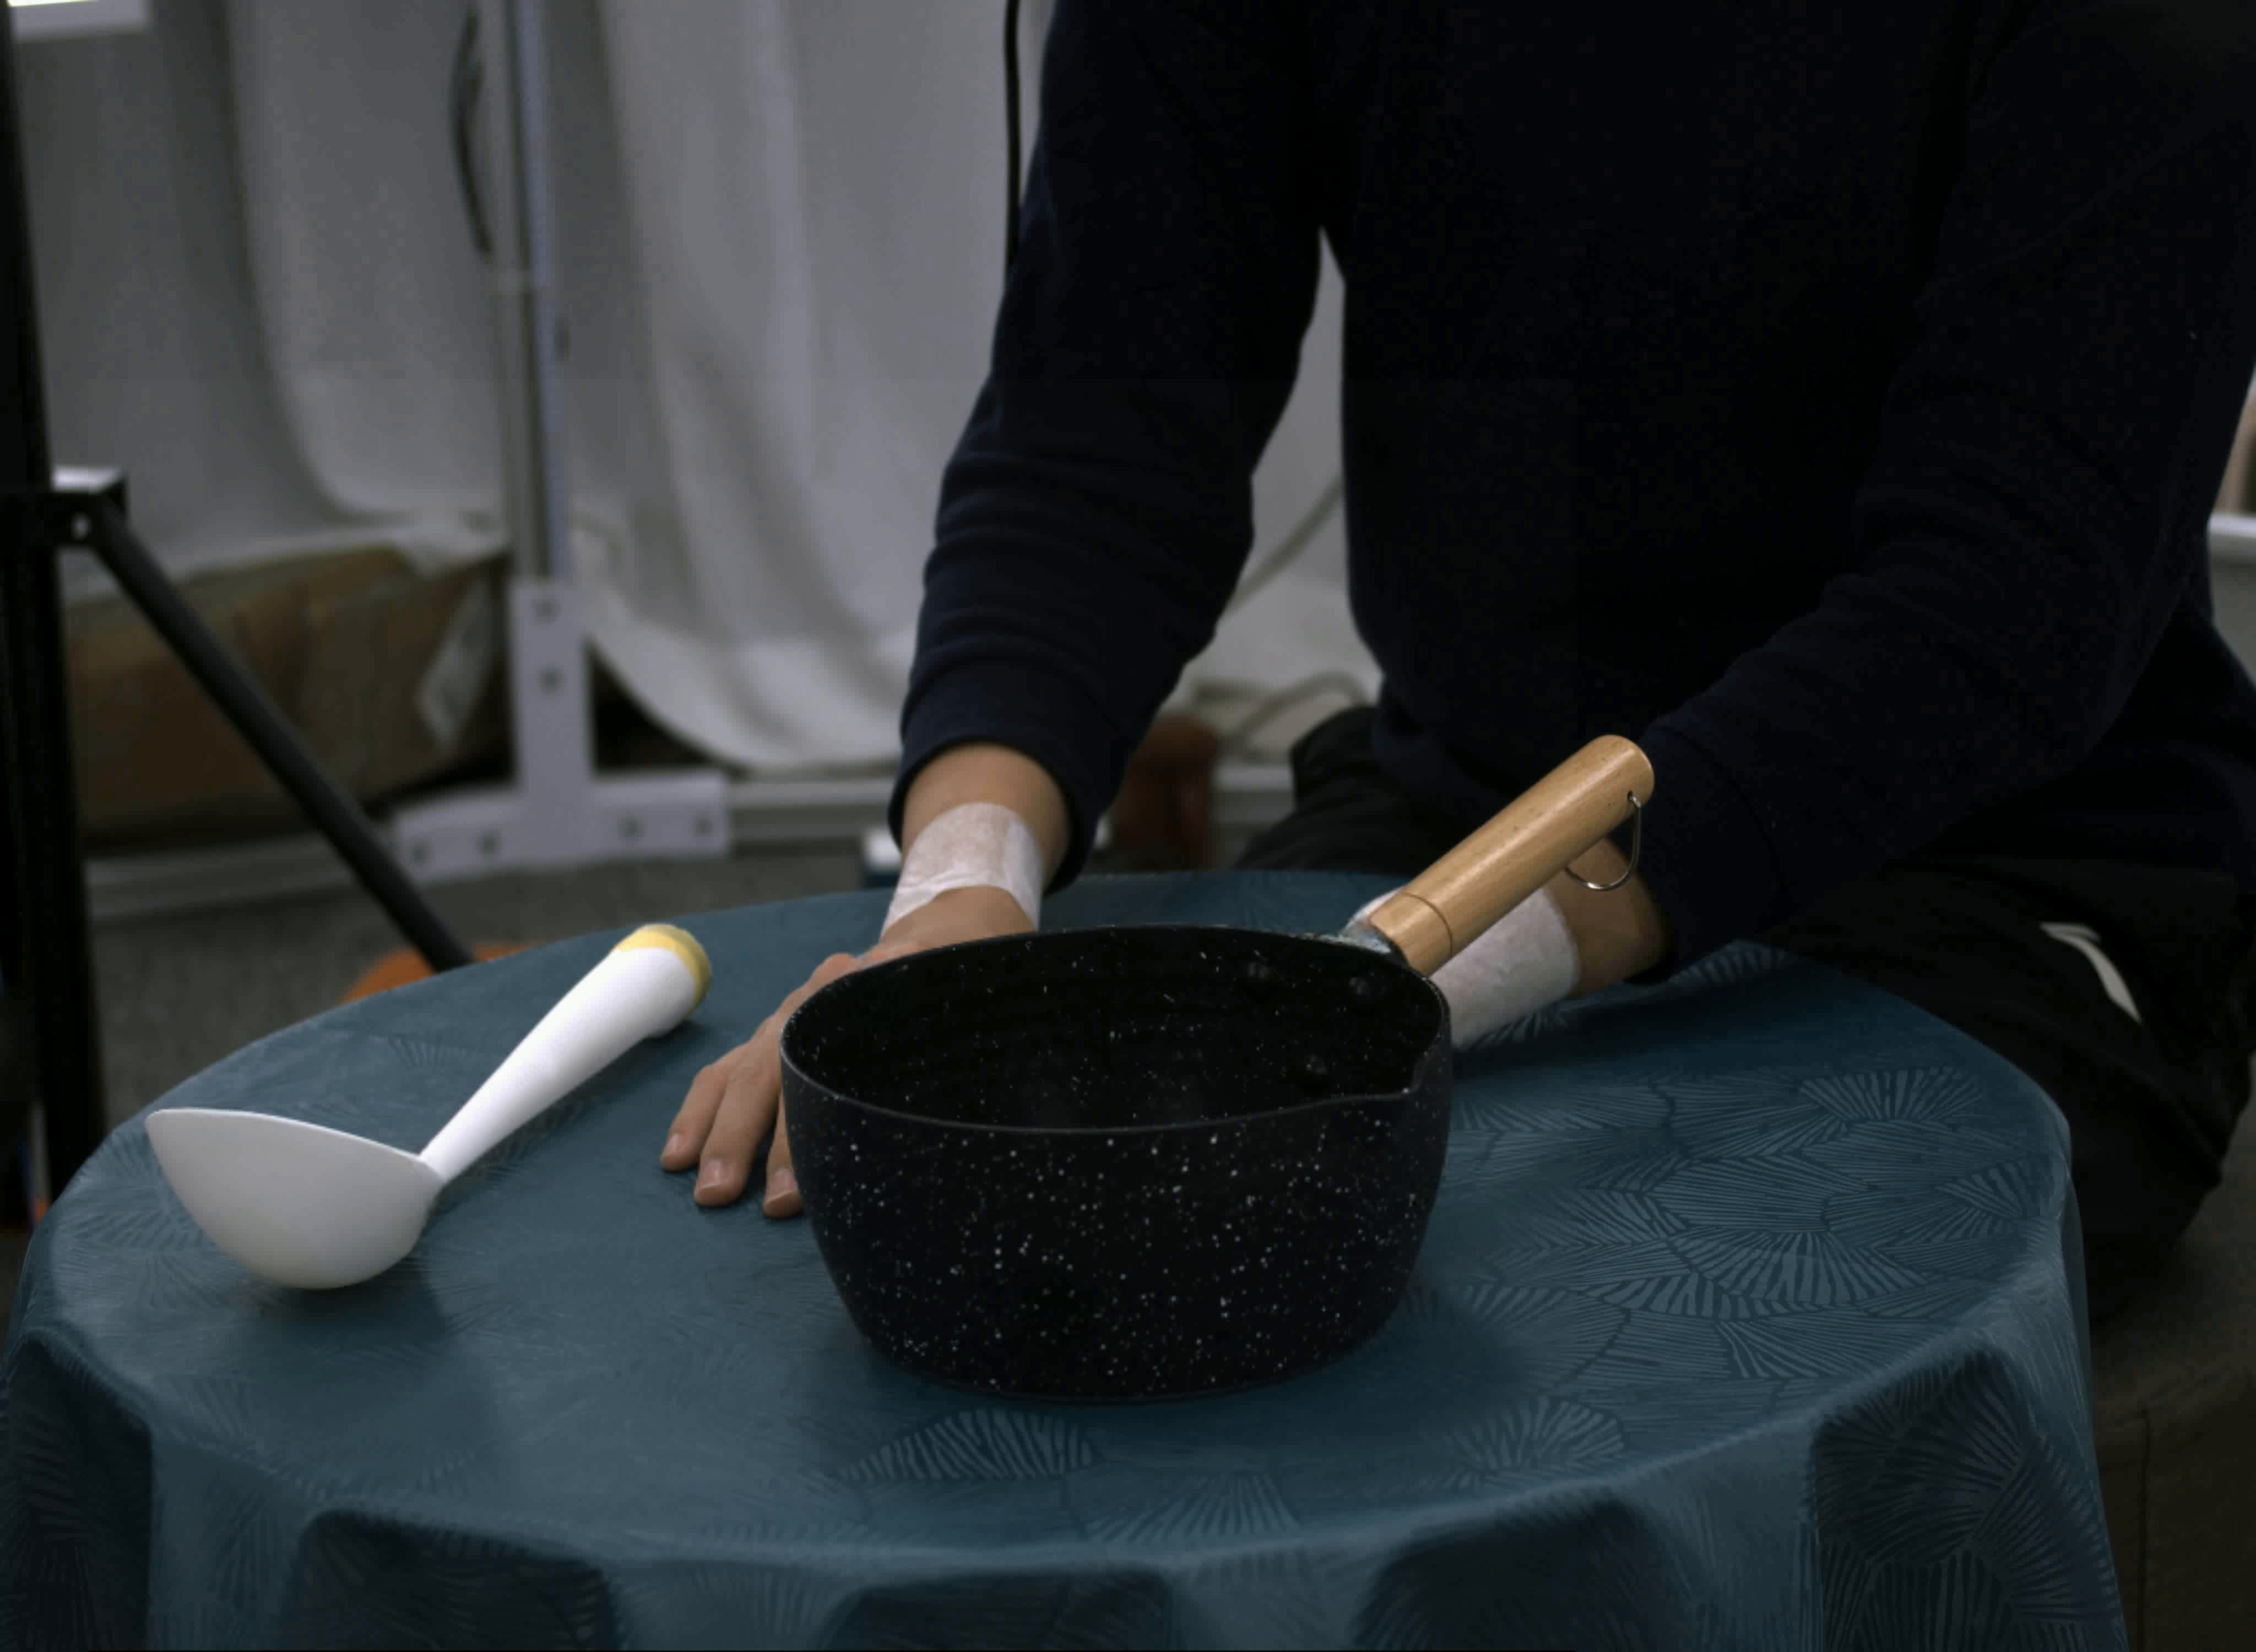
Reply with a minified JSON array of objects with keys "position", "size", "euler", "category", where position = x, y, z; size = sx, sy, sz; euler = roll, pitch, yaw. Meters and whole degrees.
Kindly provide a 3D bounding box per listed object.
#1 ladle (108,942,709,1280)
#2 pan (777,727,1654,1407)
[{"position":[-0.202,0.071,1.607],"size":[0.091,0.070,0.289],"euler":[-2,14,22],"category":"ladle"},{"position":[0.046,0.063,1.510],"size":[0.212,0.108,0.335],"euler":[9,20,38],"category":"pan"}]
